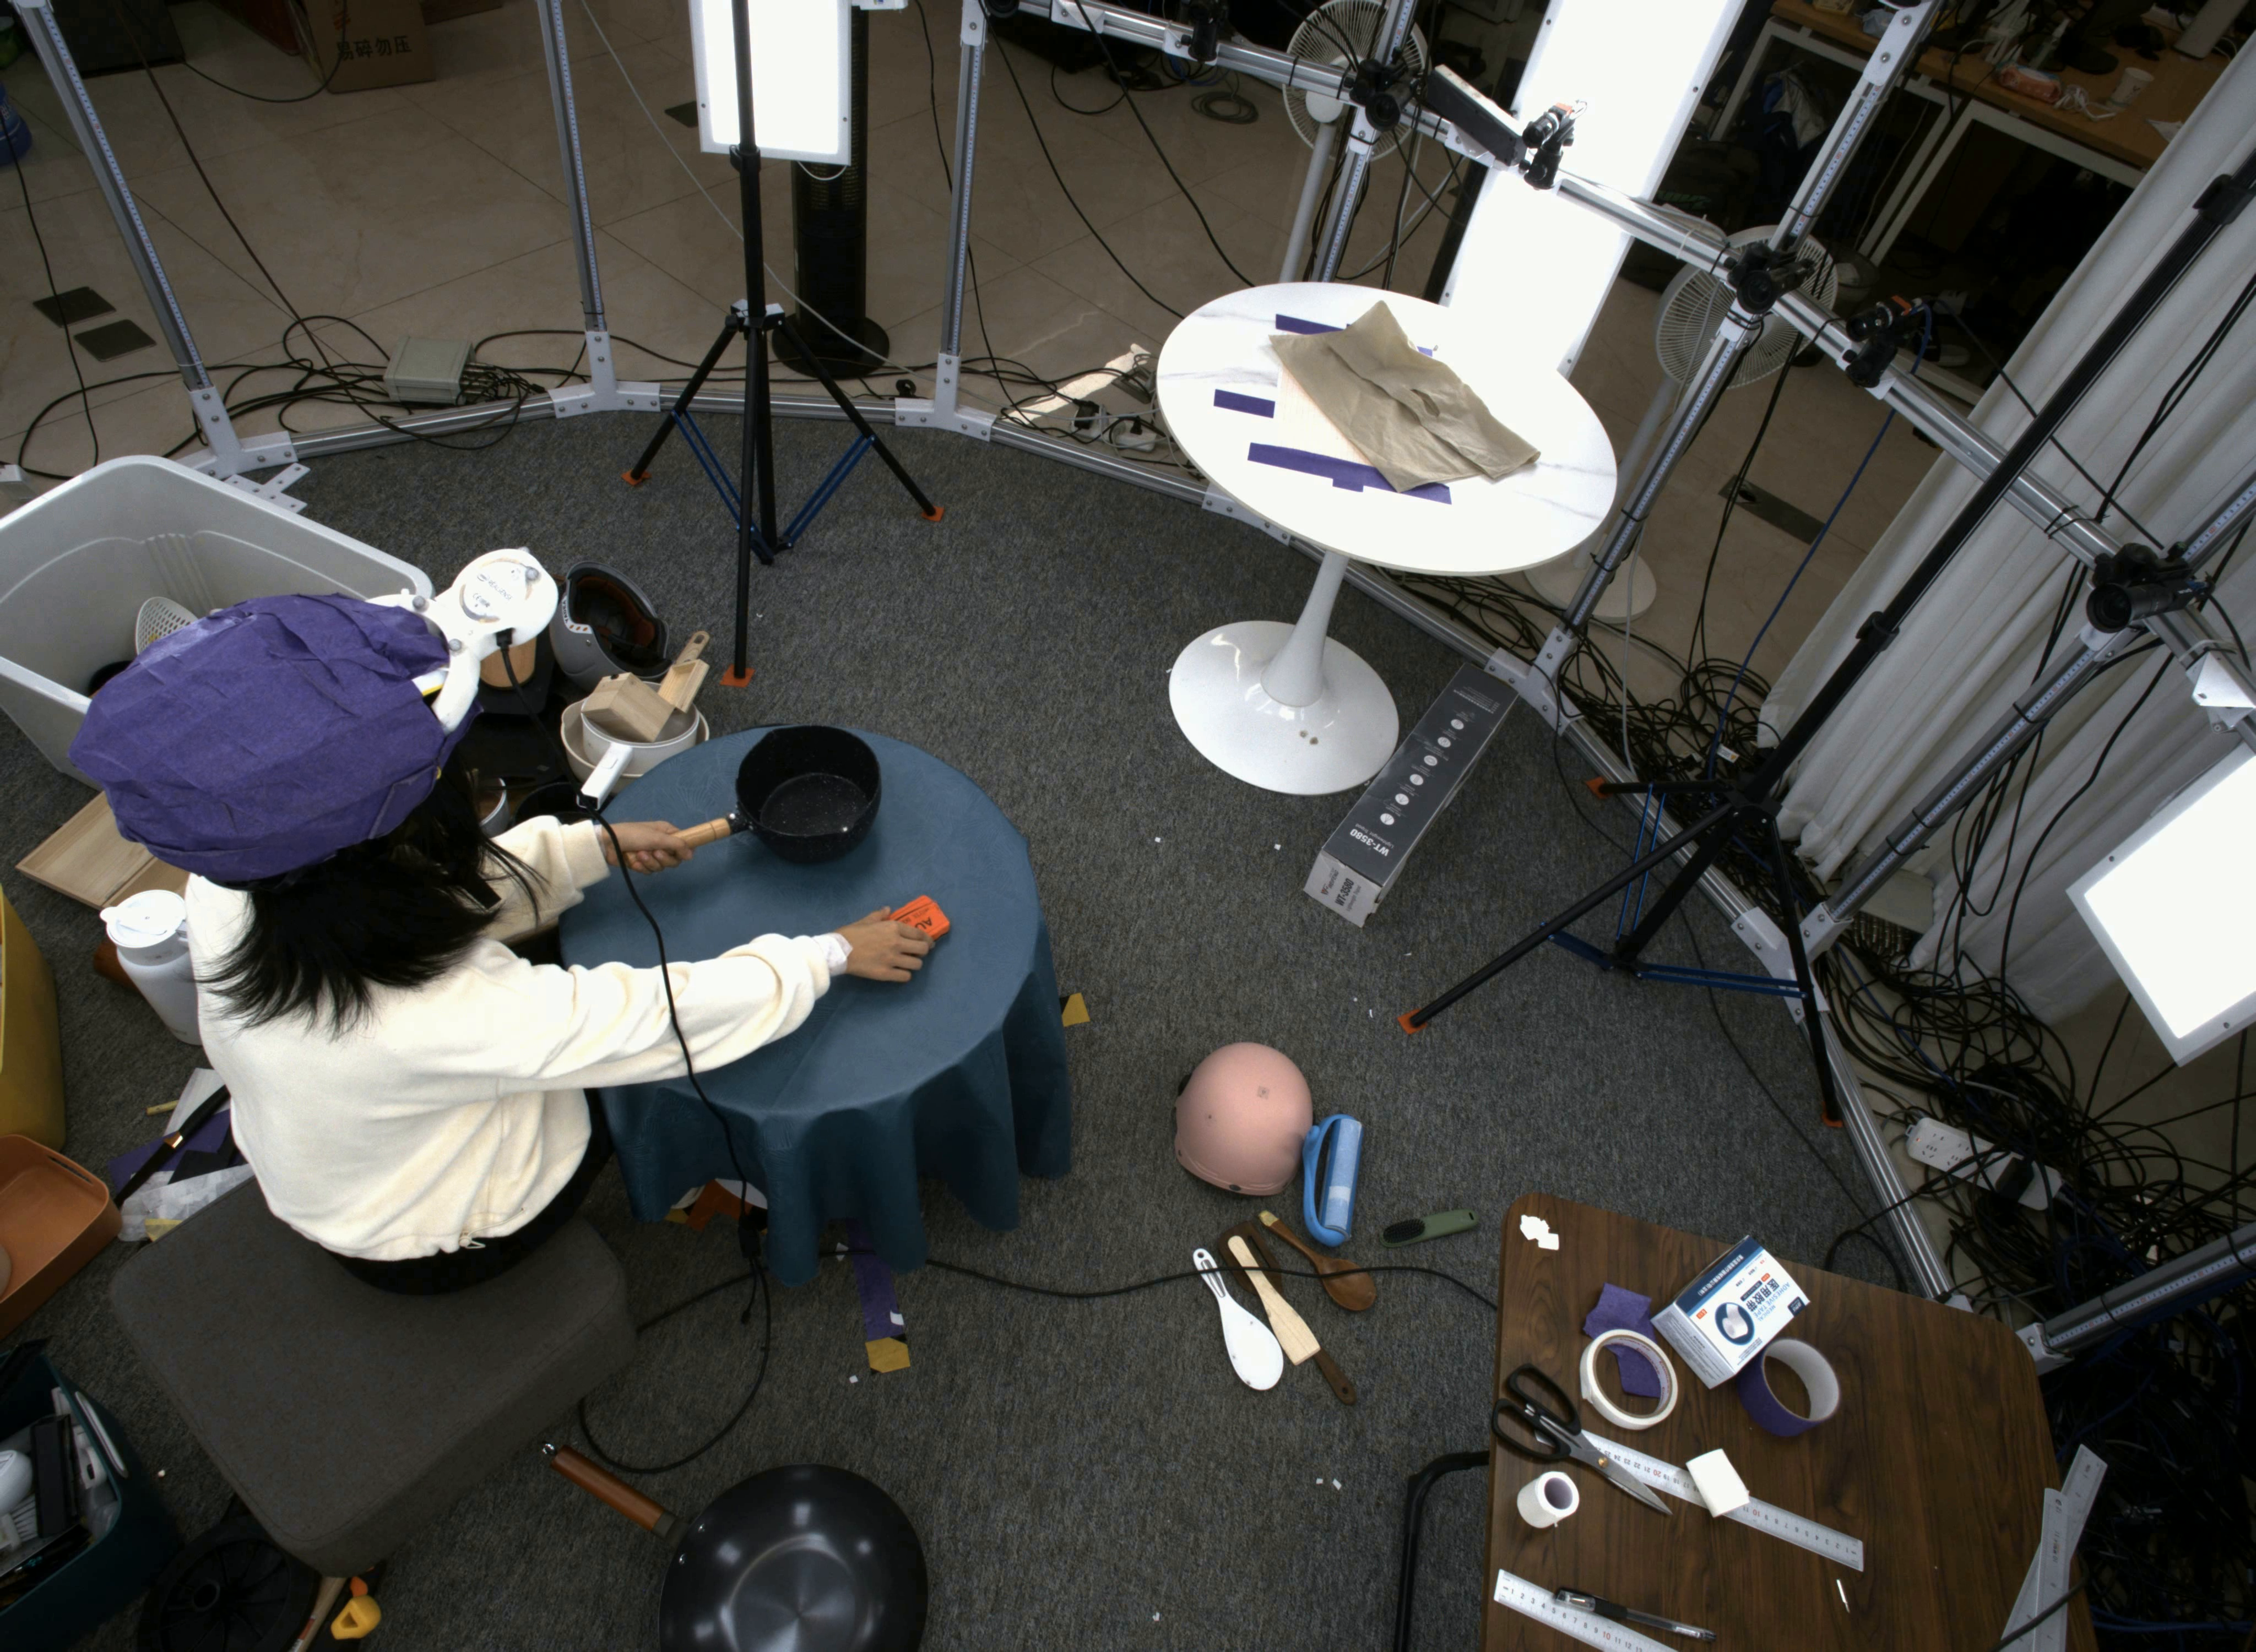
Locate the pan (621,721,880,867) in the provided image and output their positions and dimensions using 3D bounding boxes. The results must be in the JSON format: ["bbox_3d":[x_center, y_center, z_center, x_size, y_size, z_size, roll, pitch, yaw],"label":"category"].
[{"bbox_3d":[-0.475,-0.009,1.641,0.344,0.110,0.202,-30,64,-28],"label":"pan"}]

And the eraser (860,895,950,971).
[{"bbox_3d":[-0.282,0.132,1.643,0.108,0.023,0.058,-31,68,-31],"label":"eraser"}]
